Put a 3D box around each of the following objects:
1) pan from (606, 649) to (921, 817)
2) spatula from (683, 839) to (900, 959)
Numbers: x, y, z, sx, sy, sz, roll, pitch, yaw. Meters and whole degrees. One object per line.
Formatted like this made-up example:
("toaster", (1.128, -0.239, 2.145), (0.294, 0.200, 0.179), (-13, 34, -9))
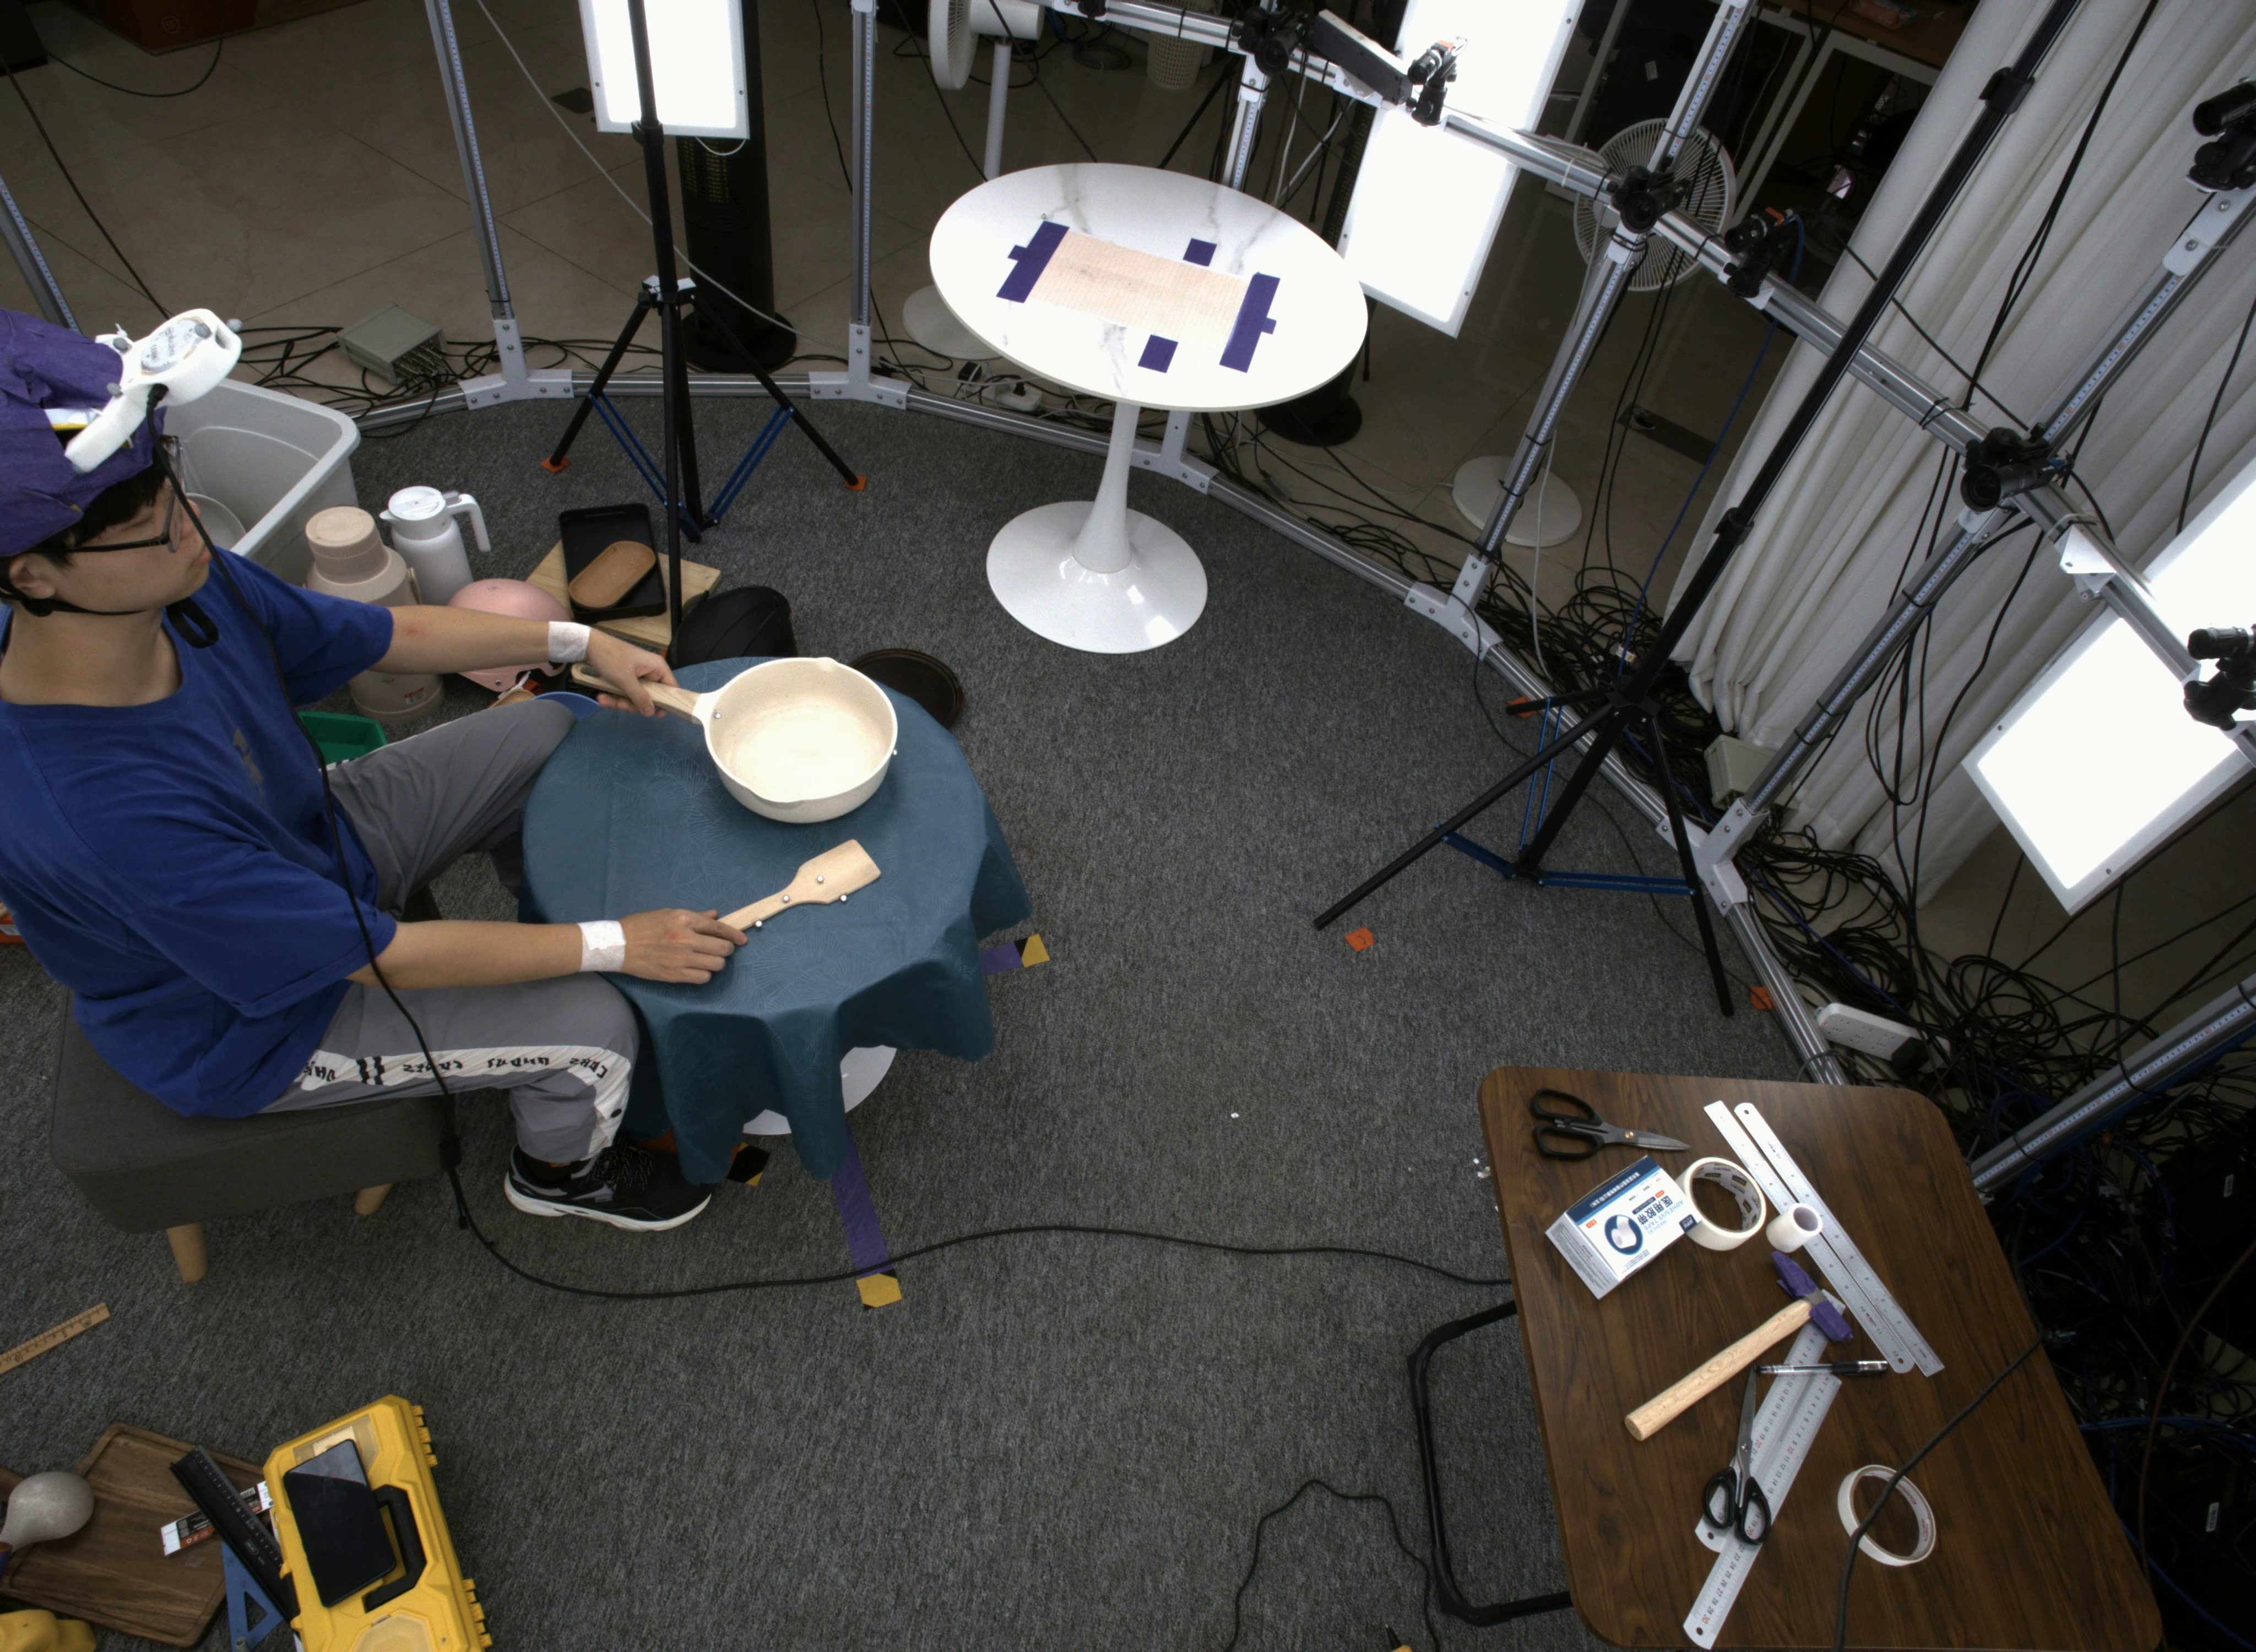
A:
("pan", (-0.497, -0.142, 1.756), (0.433, 0.104, 0.259), (11, 54, -5))
("spatula", (-0.430, 0.097, 1.652), (0.294, 0.011, 0.070), (-27, 65, -32))
